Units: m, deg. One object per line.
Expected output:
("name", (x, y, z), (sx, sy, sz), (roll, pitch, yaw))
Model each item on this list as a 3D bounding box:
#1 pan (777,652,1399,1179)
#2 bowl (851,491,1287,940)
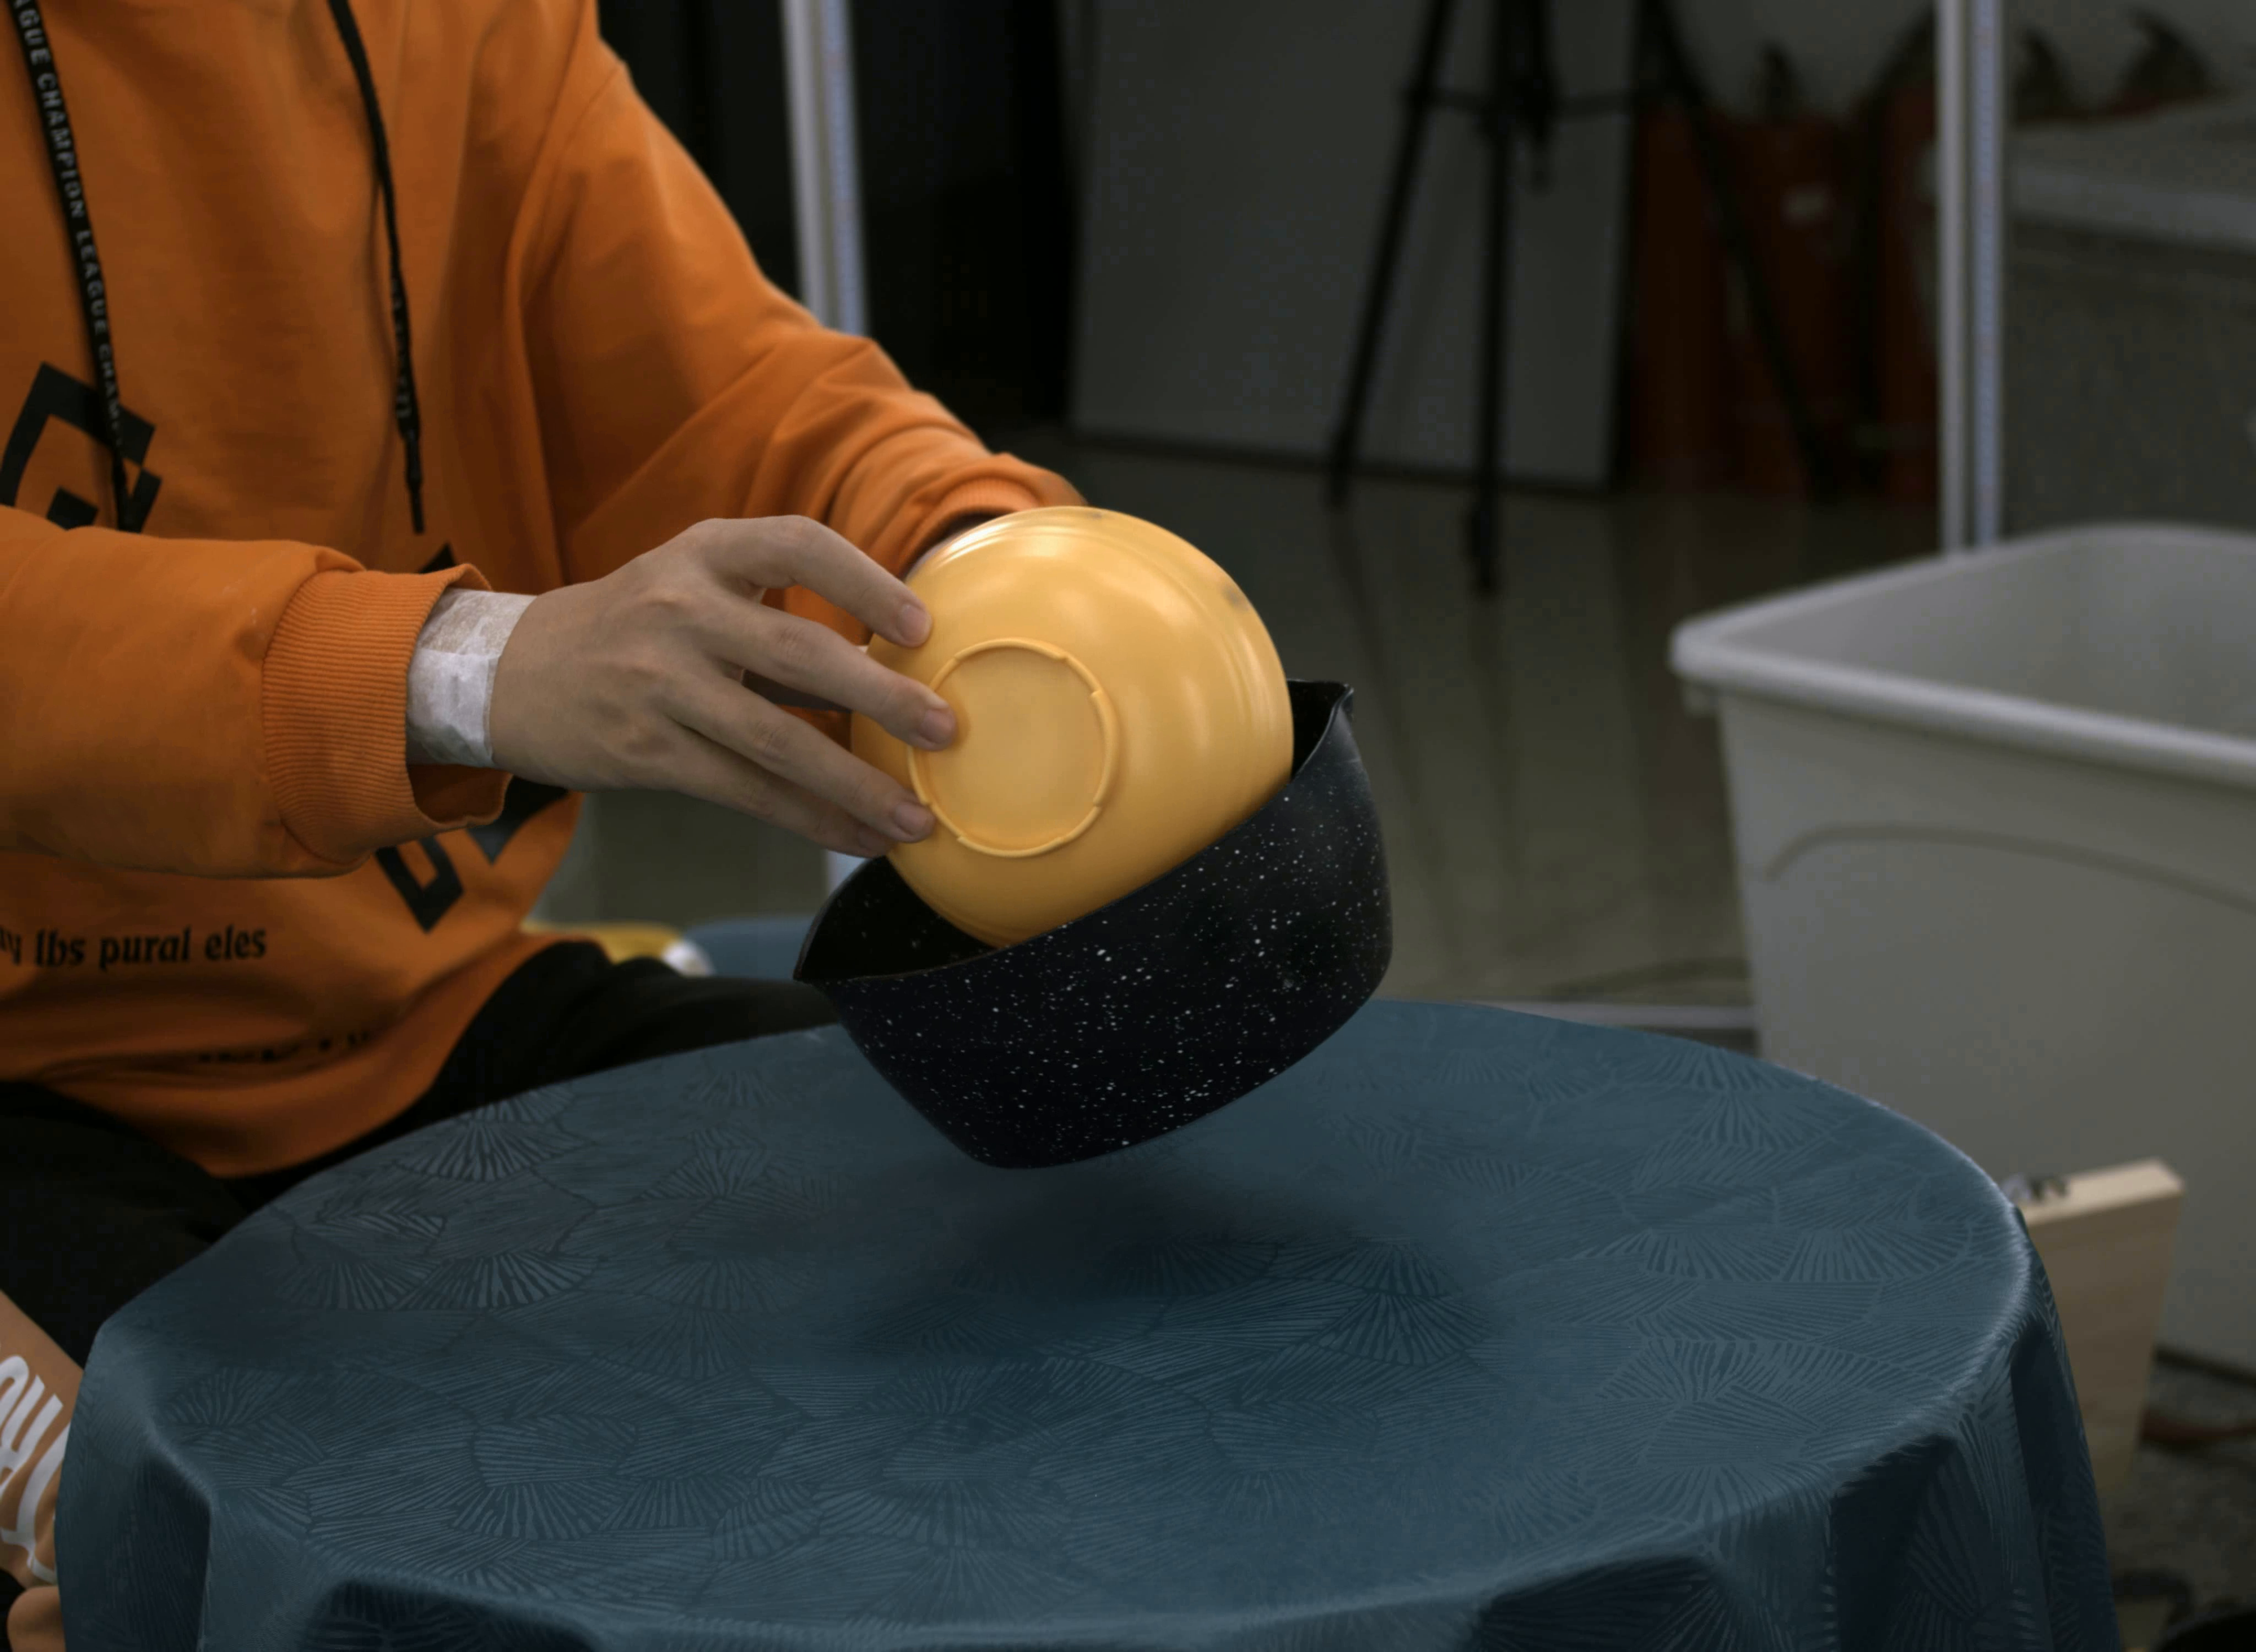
("pan", (-0.023, 0.007, 1.772), (0.205, 0.108, 0.345), (-30, 18, -5))
("bowl", (-0.027, -0.027, 1.644), (0.145, 0.147, 0.059), (2, 8, 21))
